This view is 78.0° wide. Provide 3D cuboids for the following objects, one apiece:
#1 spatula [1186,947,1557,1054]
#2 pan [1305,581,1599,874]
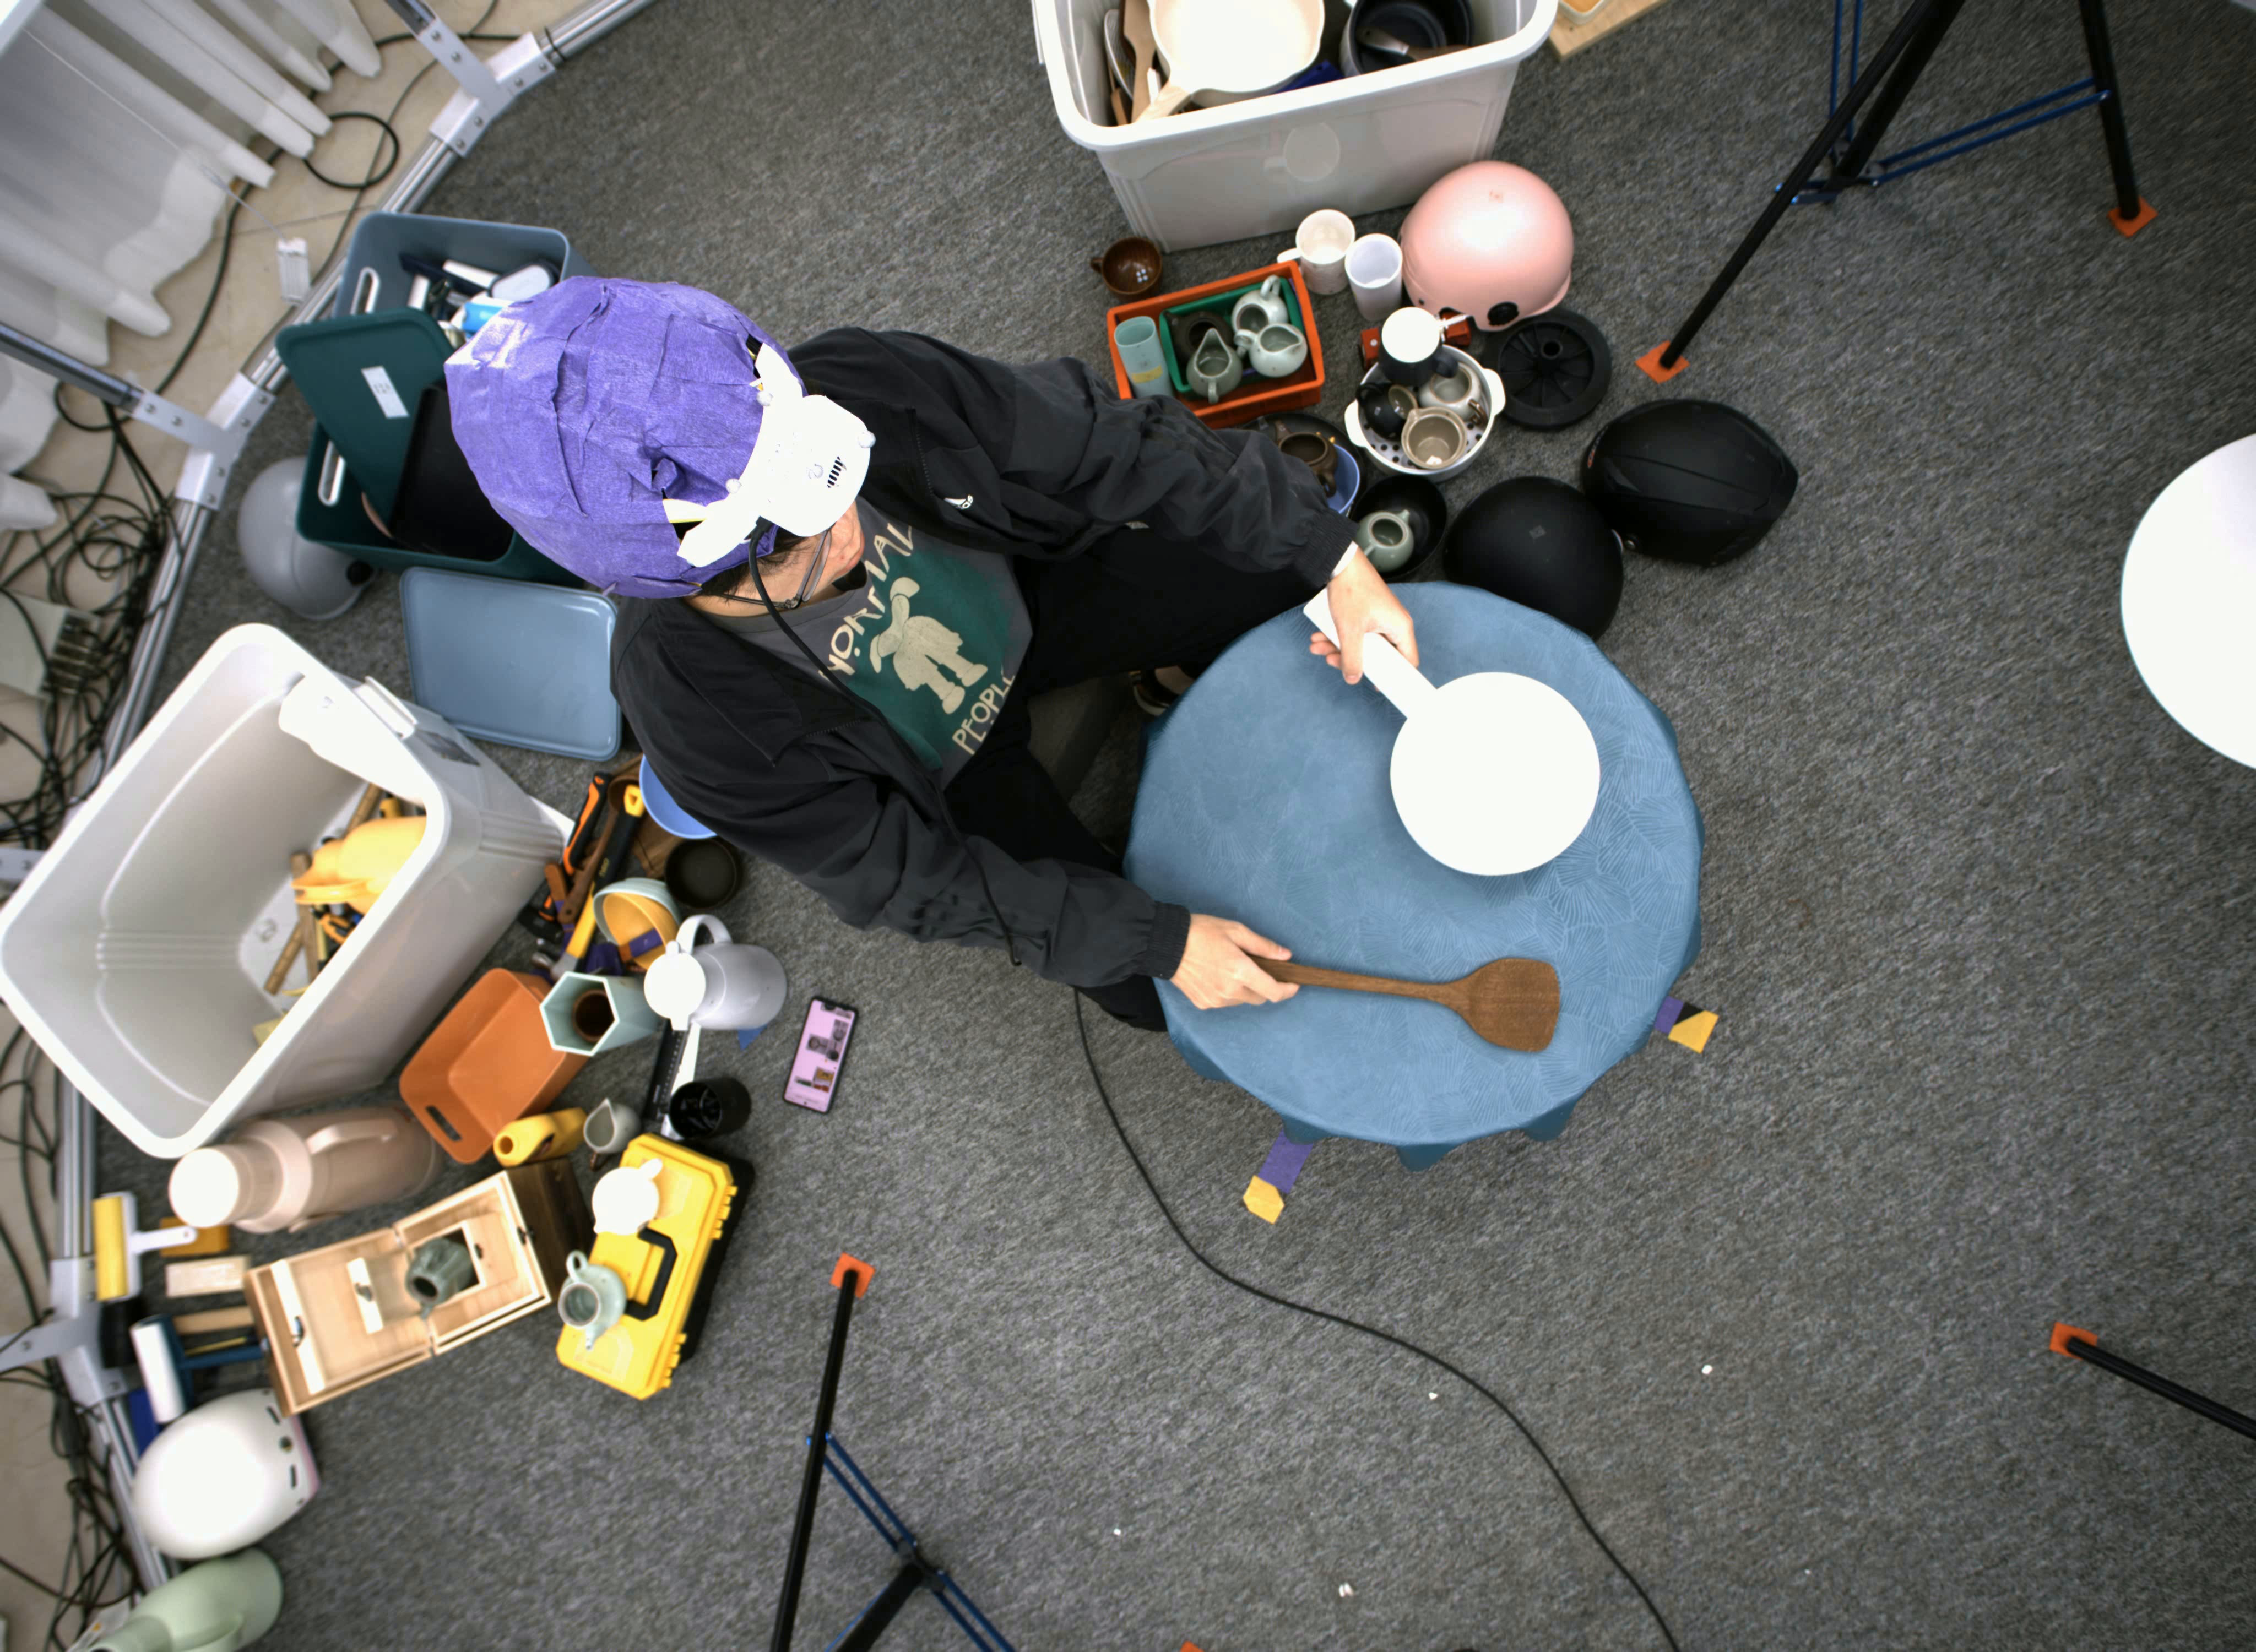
[{"bbox_3d":[0.251,0.164,1.438,0.387,0.016,0.095,7,83,7],"label":"spatula"},{"bbox_3d":[0.317,-0.106,1.407,0.202,0.102,0.353,-44,80,6],"label":"pan"}]
